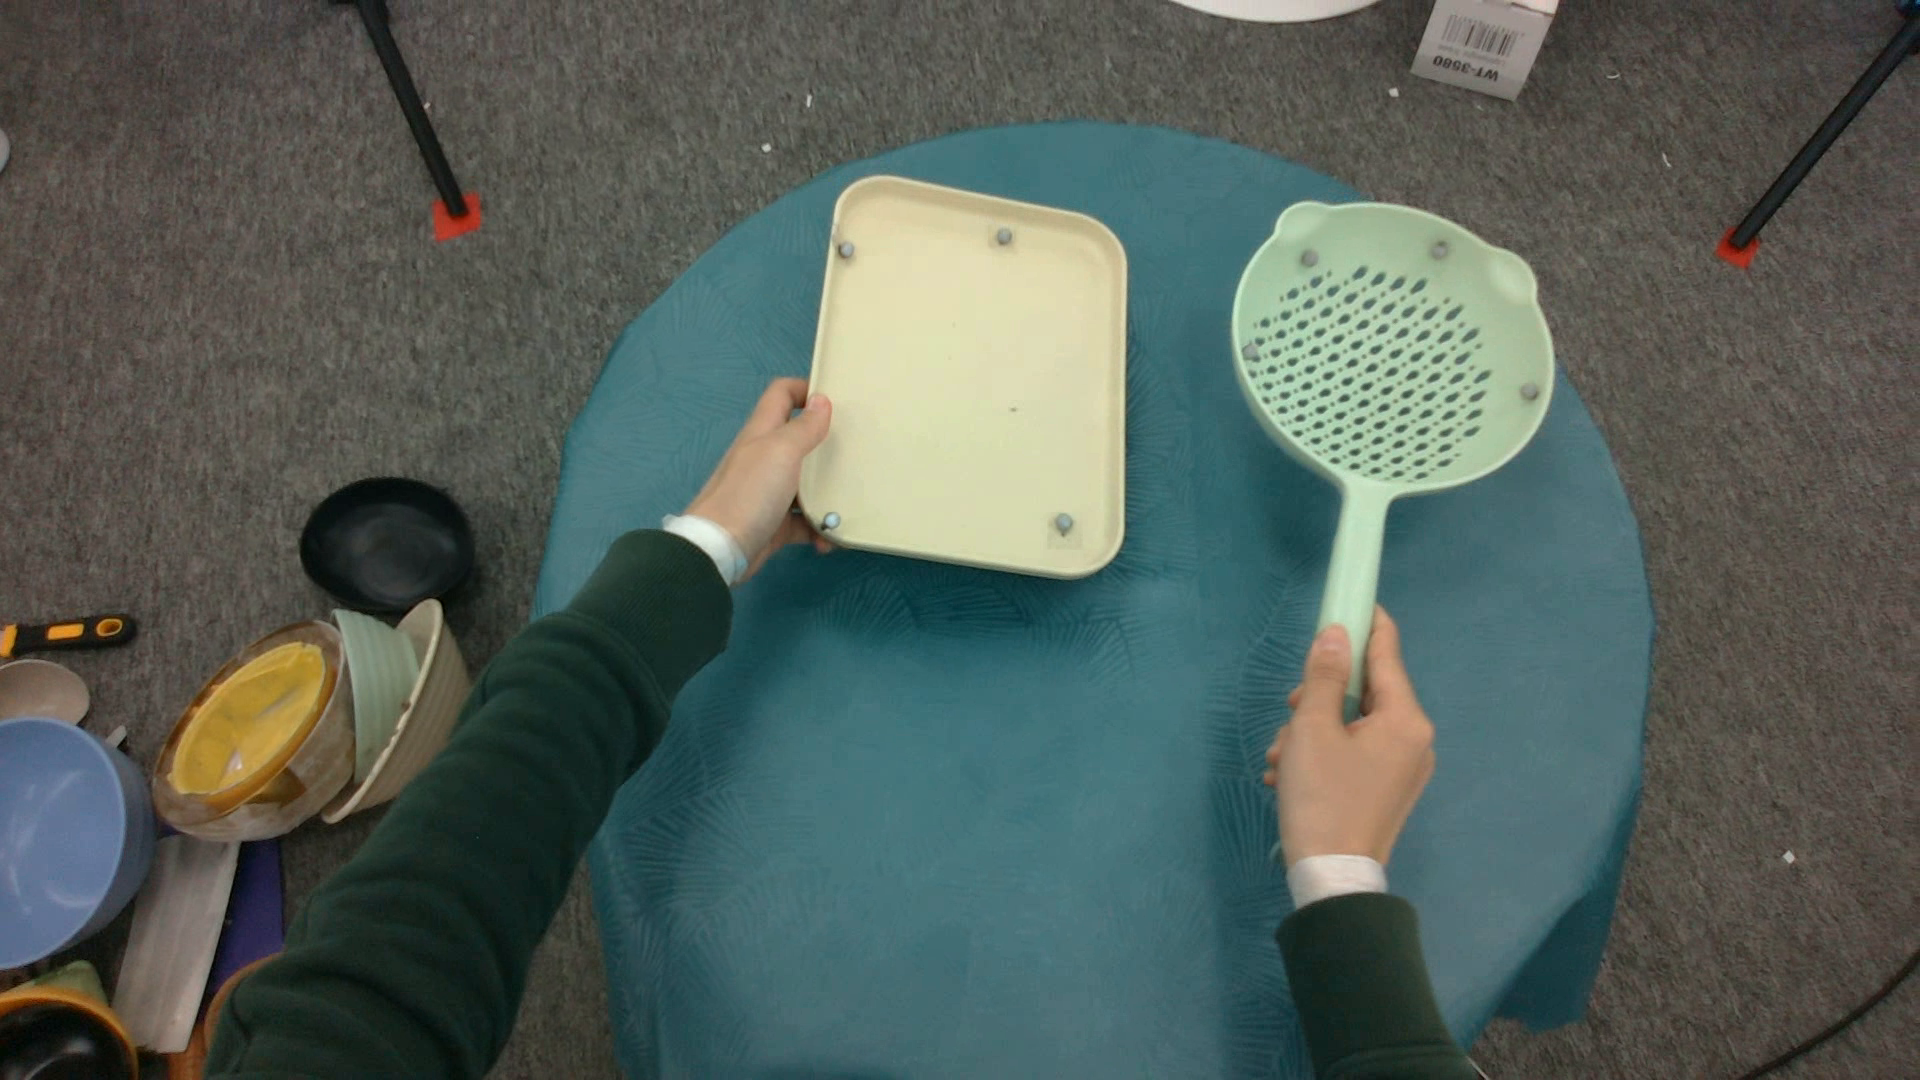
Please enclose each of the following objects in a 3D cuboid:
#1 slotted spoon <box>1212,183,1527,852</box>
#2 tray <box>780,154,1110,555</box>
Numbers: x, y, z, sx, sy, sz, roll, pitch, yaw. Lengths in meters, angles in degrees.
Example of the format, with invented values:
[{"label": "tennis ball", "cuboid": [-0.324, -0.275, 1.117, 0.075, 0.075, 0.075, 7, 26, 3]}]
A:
[{"label": "slotted spoon", "cuboid": [0.190, -0.024, 0.690, 0.169, 0.075, 0.360, 15, 58, 1]}, {"label": "tray", "cuboid": [-0.003, -0.103, 0.740, 0.171, 0.017, 0.240, 8, 61, -9]}]
